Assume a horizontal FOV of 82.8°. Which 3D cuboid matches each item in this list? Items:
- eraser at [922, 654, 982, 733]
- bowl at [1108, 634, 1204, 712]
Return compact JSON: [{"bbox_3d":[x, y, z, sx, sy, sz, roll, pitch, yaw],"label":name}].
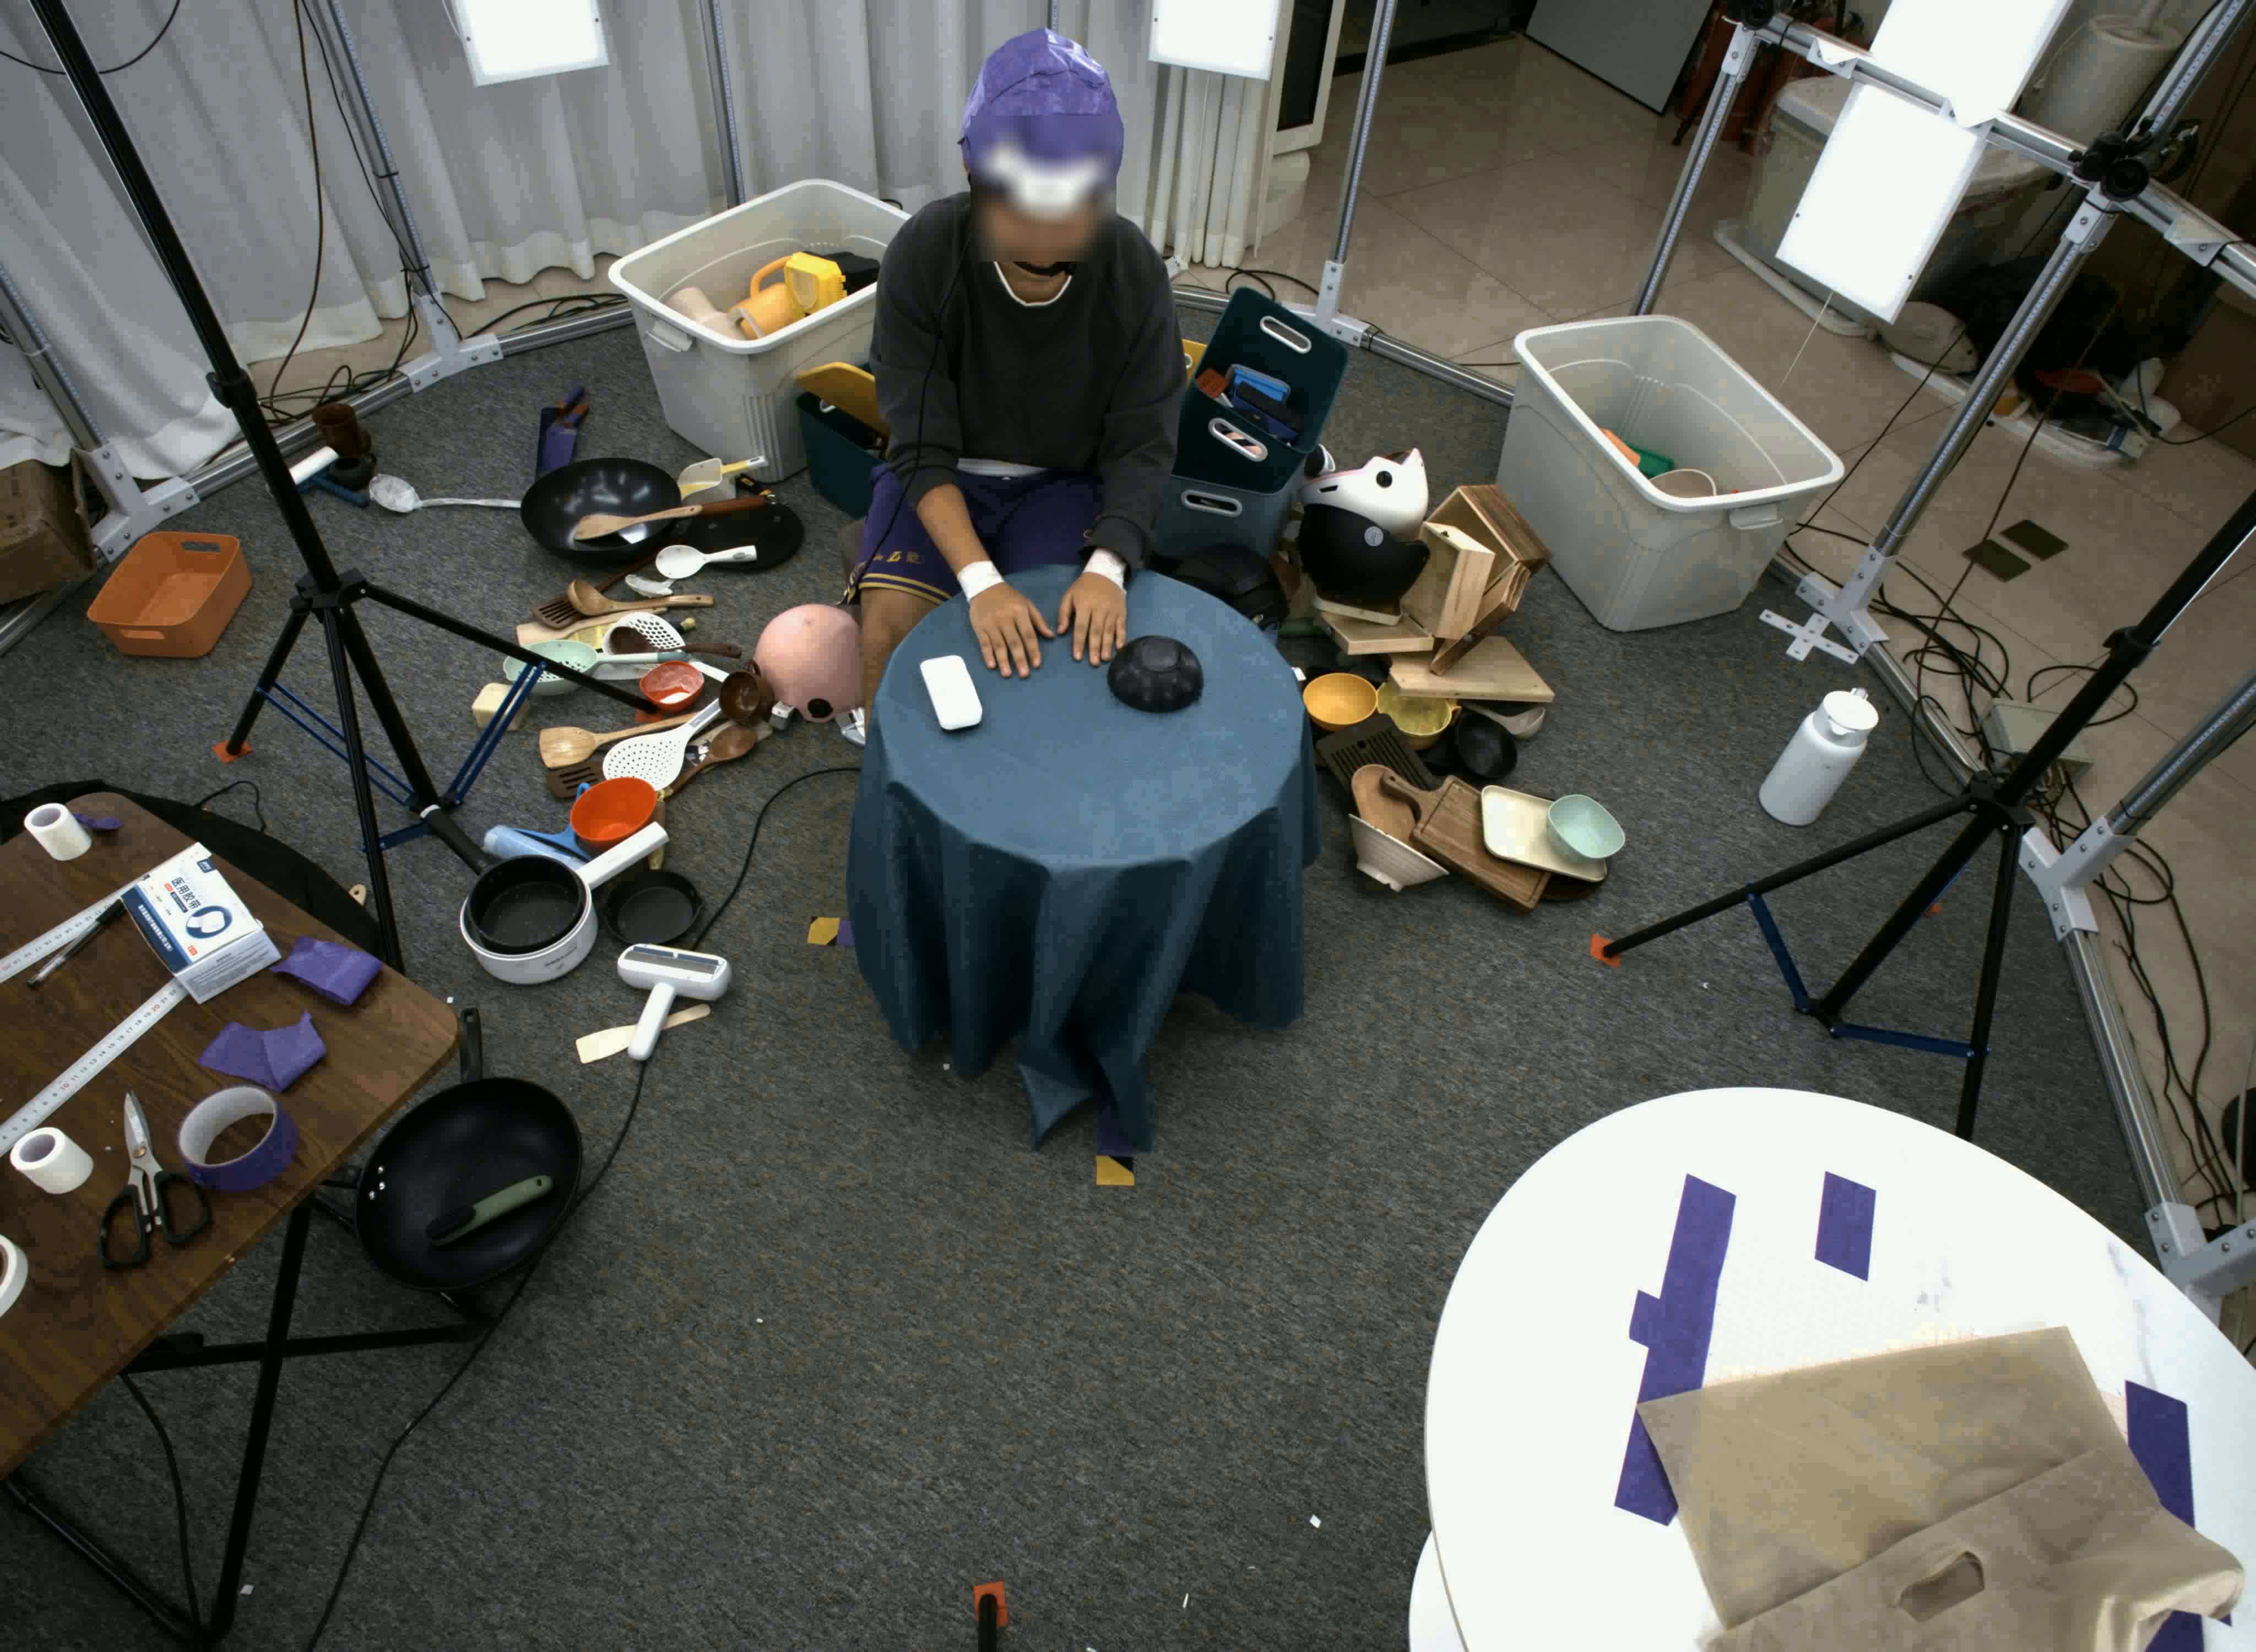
[{"bbox_3d":[-0.244,-0.188,1.792,0.063,0.034,0.134,-10,52,-14],"label":"eraser"},{"bbox_3d":[0.041,-0.230,1.835,0.140,0.048,0.143,1,50,-2],"label":"bowl"}]
